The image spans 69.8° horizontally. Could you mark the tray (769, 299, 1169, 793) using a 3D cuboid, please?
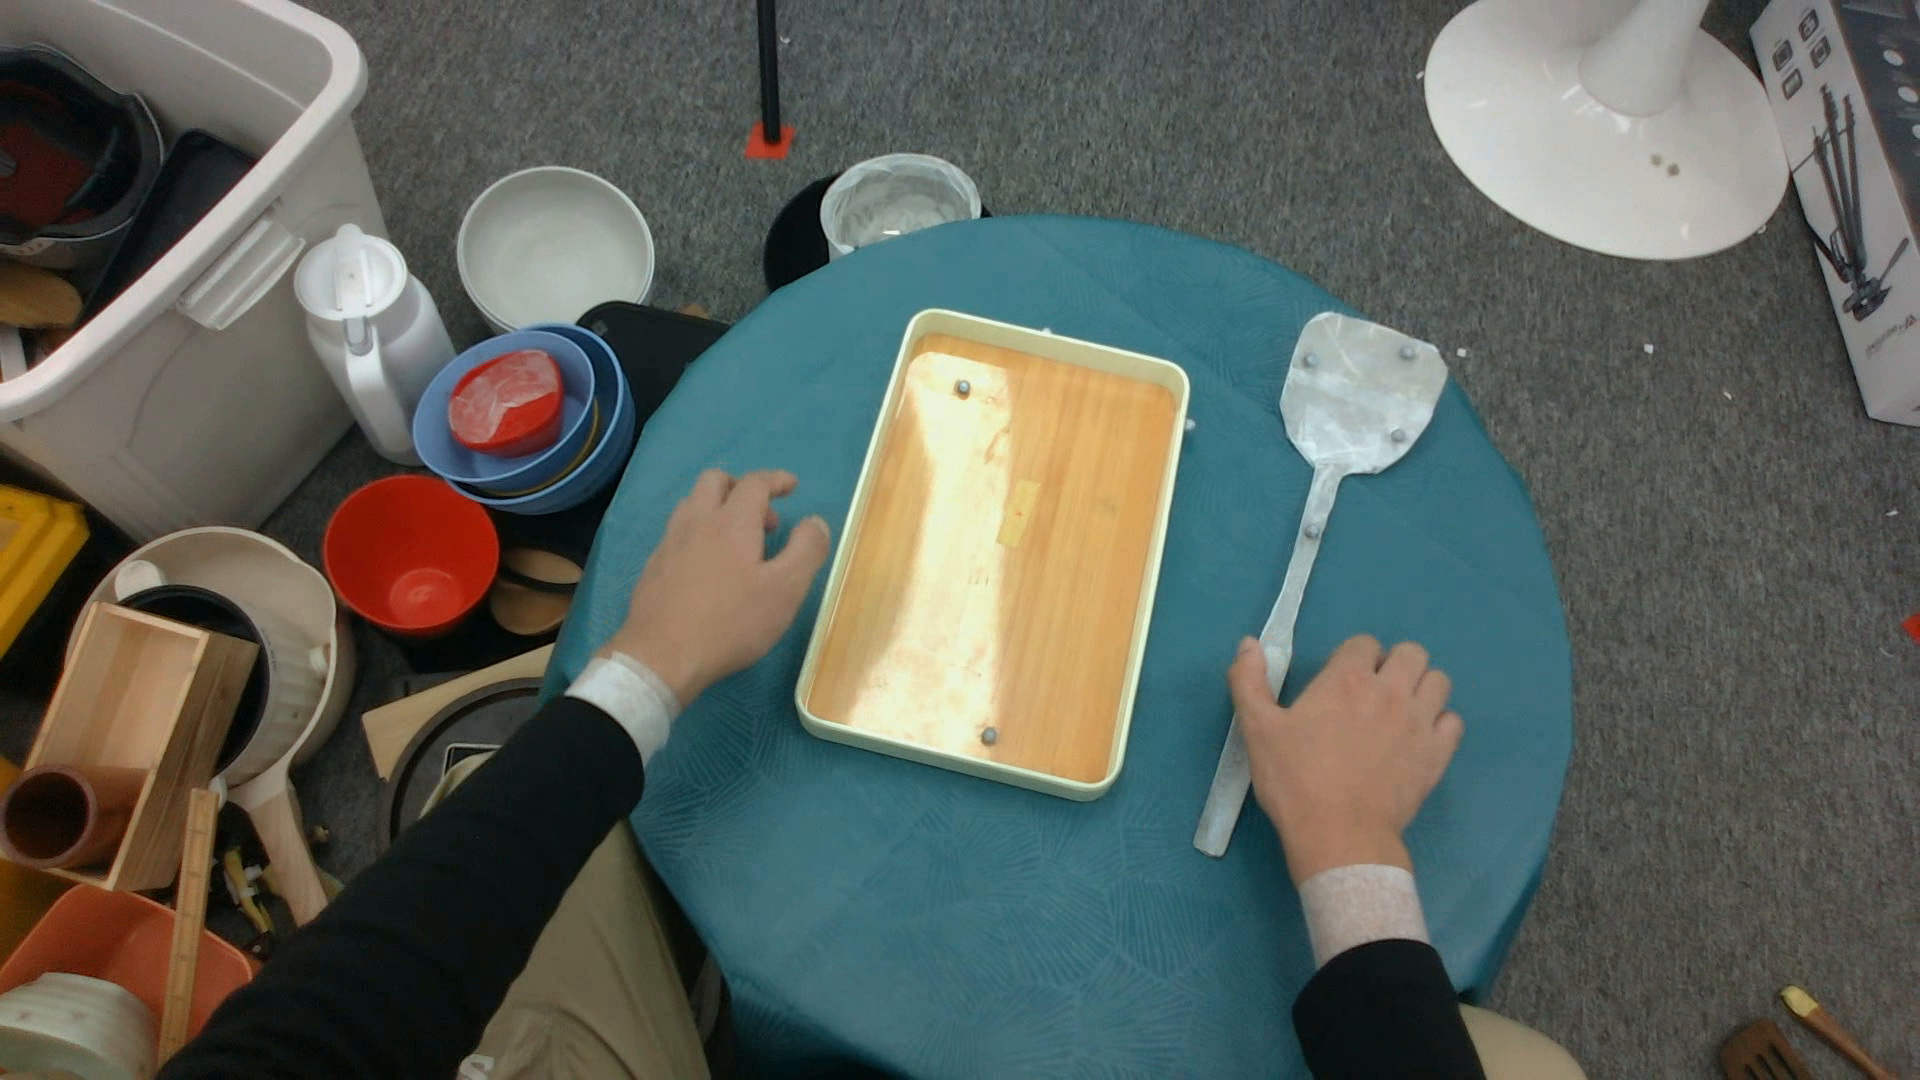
[{"bbox_3d":[0.013,-0.007,0.843,0.191,0.027,0.301,14,62,2],"label":"tray"}]

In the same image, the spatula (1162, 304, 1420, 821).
[{"bbox_3d":[0.195,0.007,0.847,0.098,0.044,0.366,22,62,5],"label":"spatula"}]
